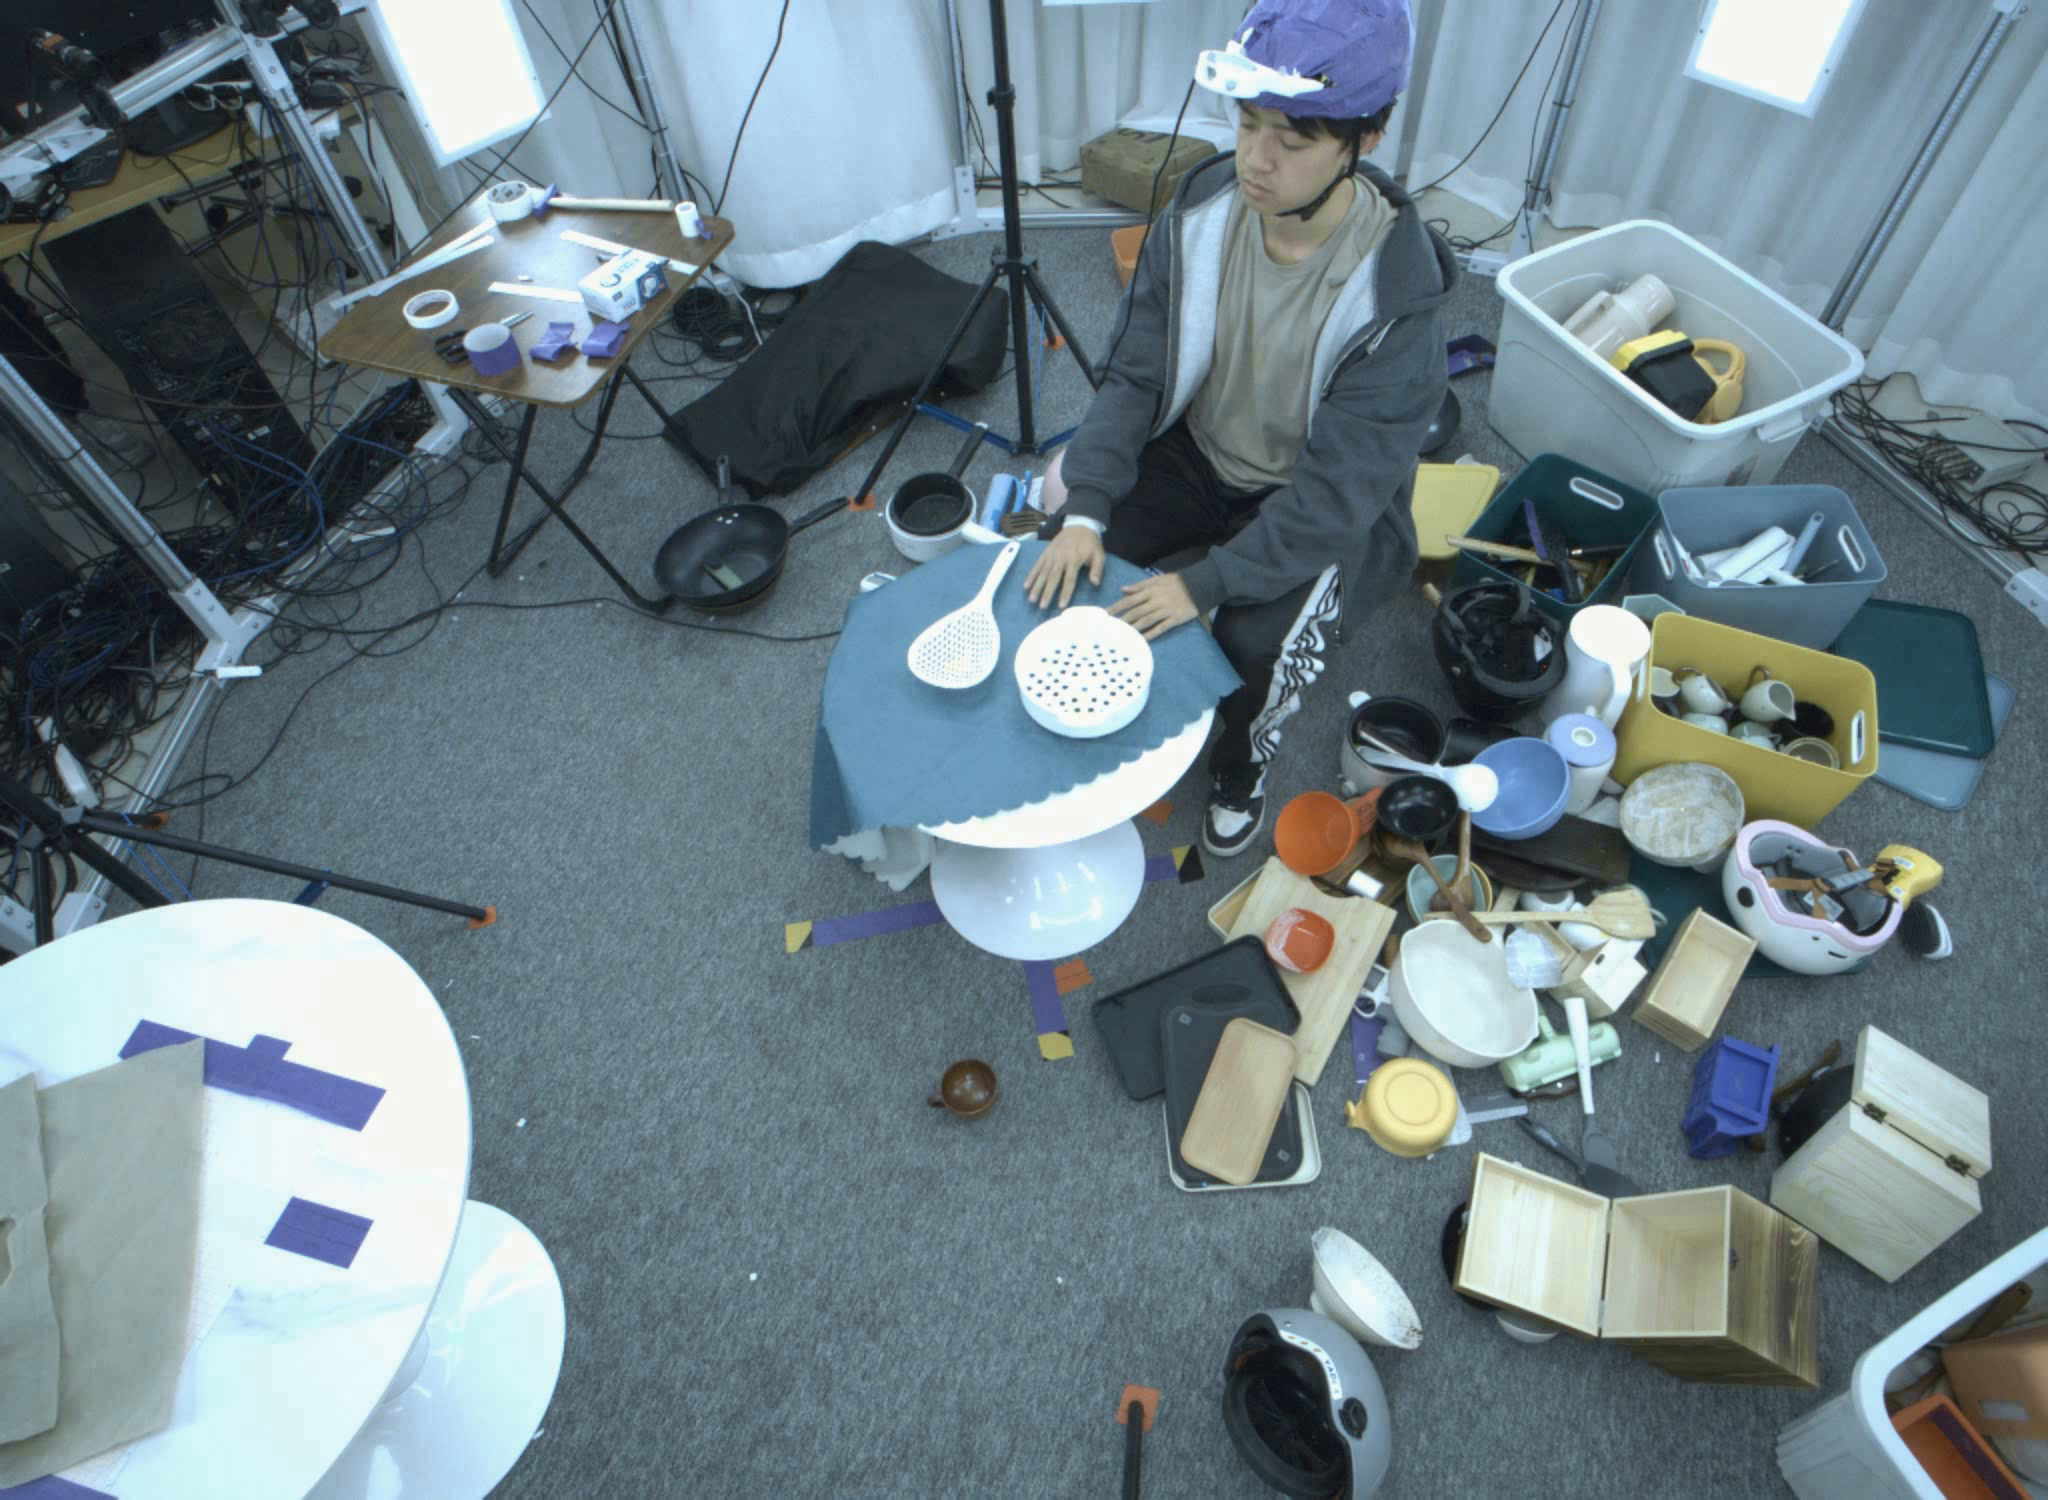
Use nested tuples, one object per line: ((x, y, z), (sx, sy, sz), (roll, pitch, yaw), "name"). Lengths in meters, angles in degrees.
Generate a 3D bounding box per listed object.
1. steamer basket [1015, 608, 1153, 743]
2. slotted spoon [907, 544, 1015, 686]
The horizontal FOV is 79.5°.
((0.089, -0.105, 1.821), (0.202, 0.070, 0.228), (0, 56, 1), "steamer basket")
((-0.070, -0.219, 1.924), (0.135, 0.051, 0.347), (12, 55, 14), "slotted spoon")
